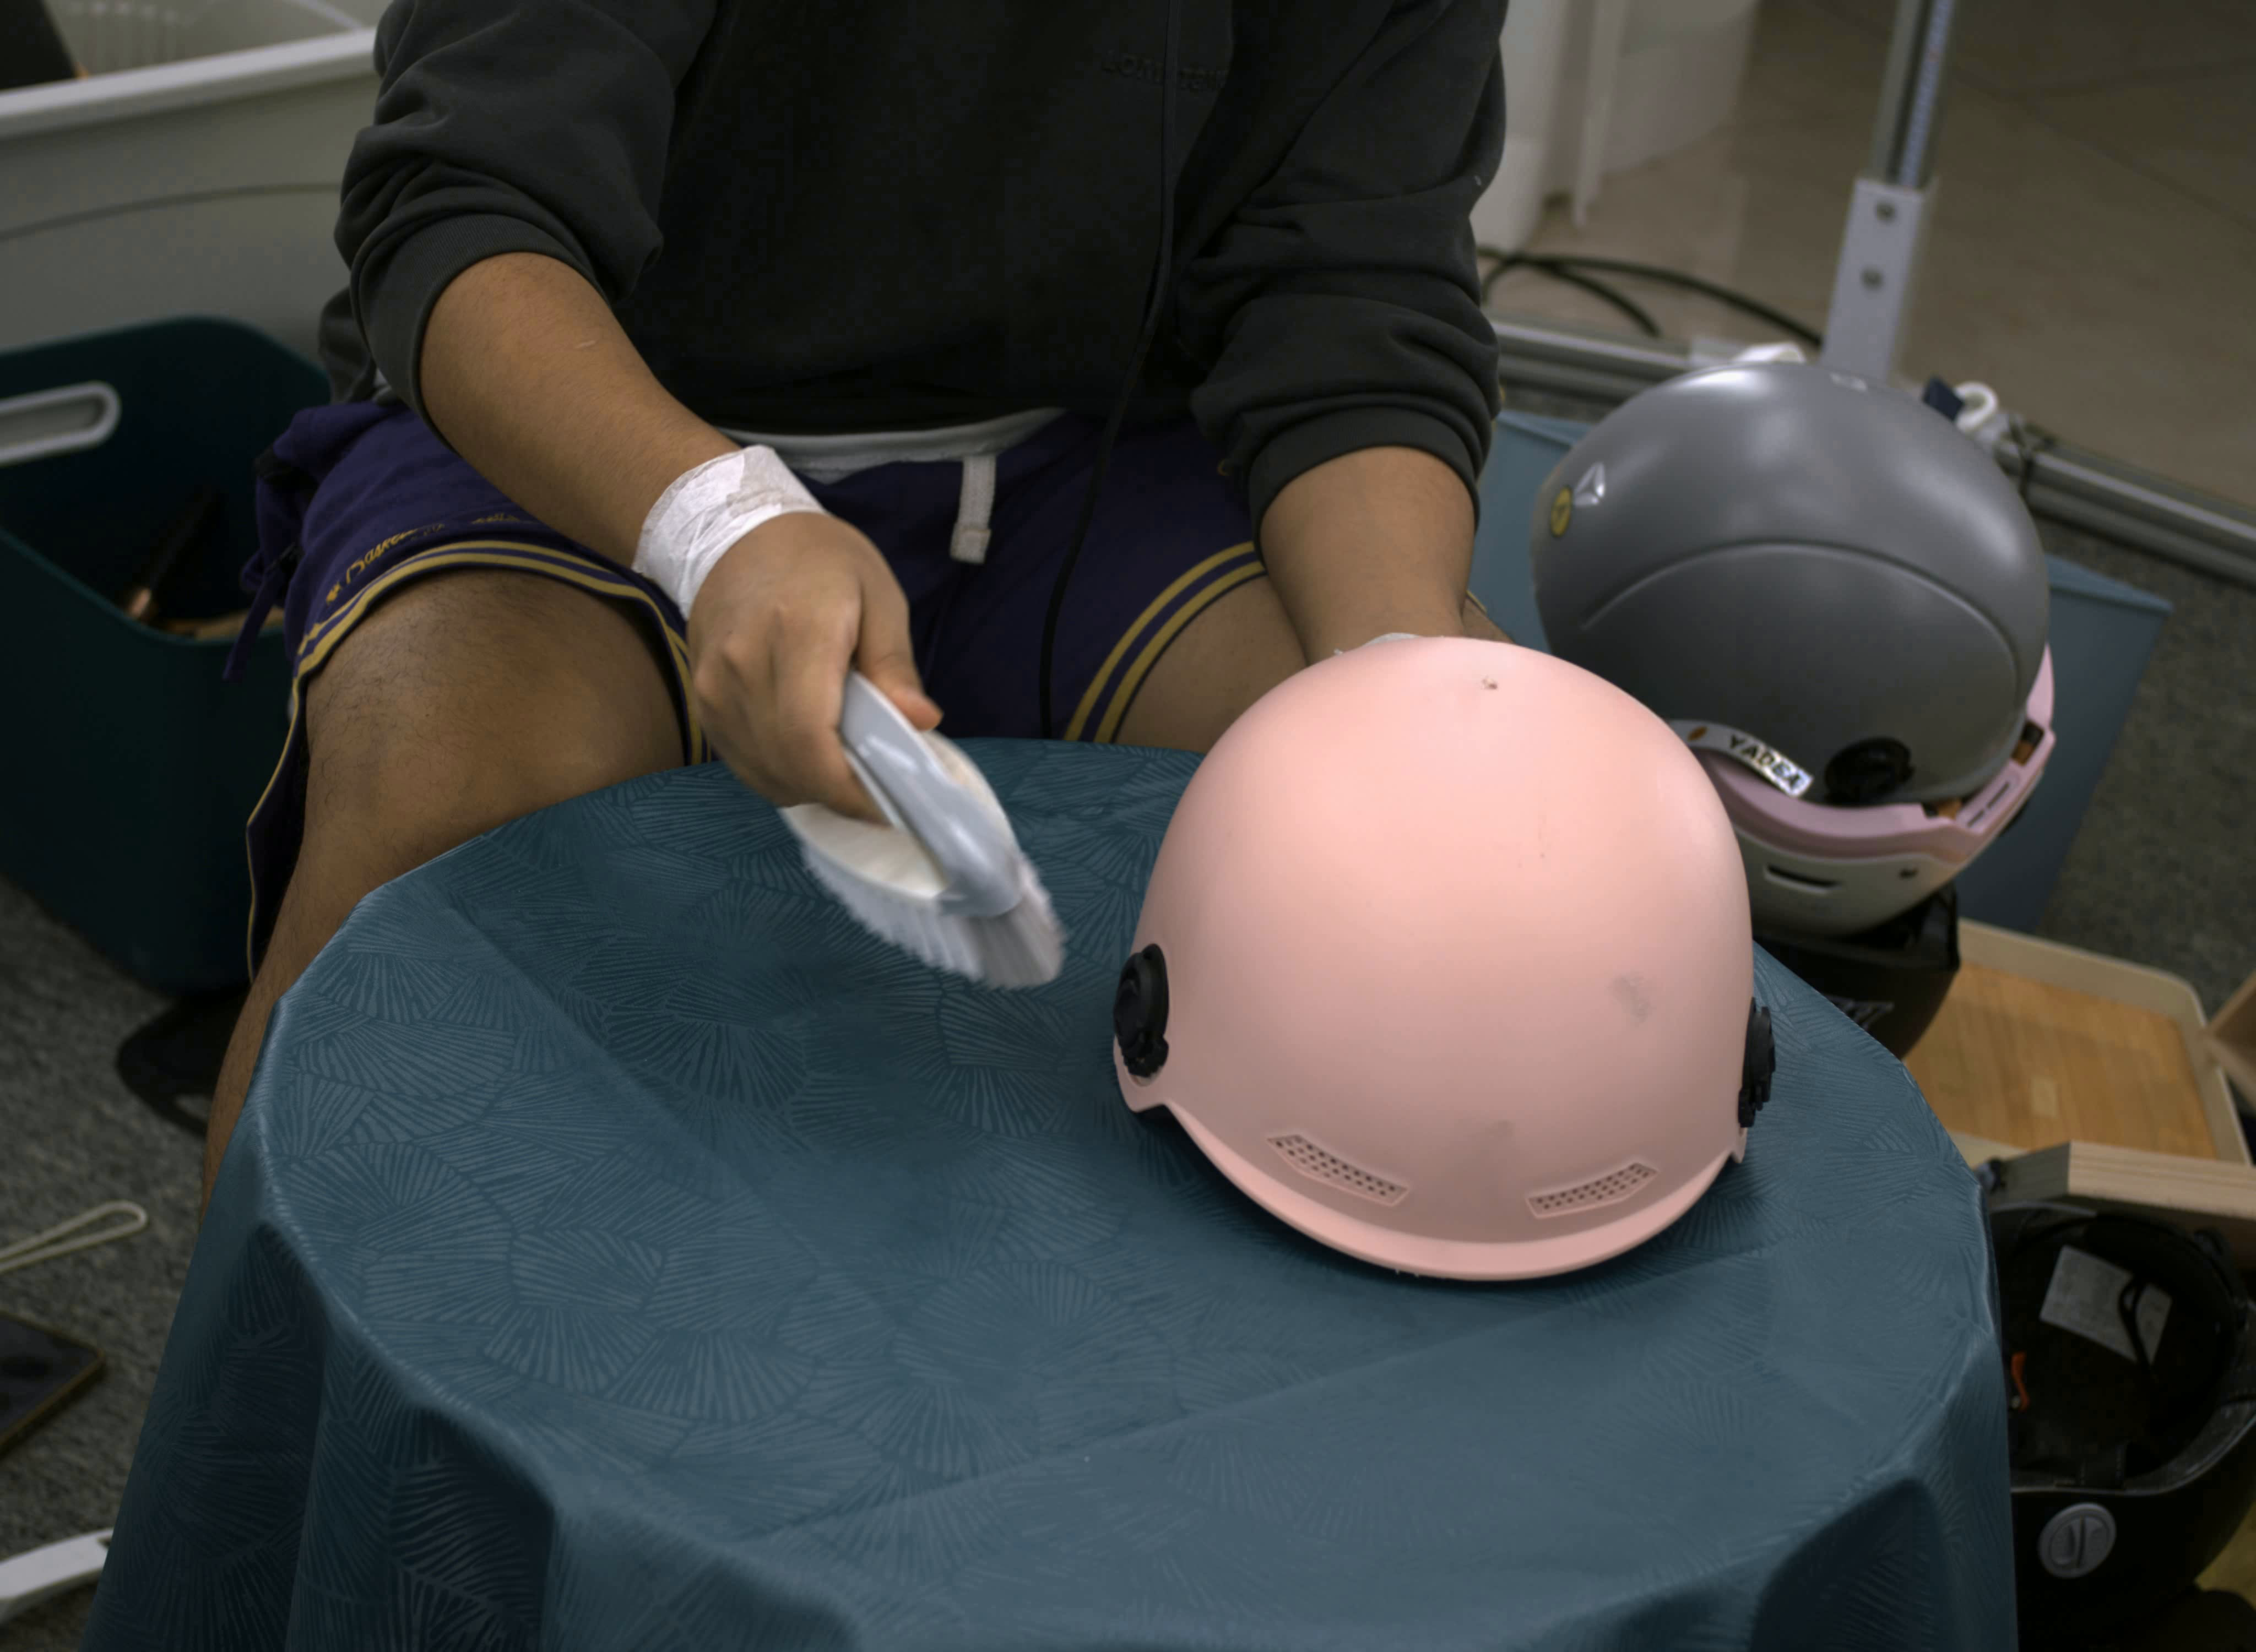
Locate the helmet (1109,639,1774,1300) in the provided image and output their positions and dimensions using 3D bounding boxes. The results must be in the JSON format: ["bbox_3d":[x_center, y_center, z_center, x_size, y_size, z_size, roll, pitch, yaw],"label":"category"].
[{"bbox_3d":[0.114,0.030,1.845,0.233,0.158,0.268,5,31,-4],"label":"helmet"}]

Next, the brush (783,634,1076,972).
[{"bbox_3d":[-0.071,-0.014,1.829,0.061,0.093,0.177,-35,31,-7],"label":"brush"}]
